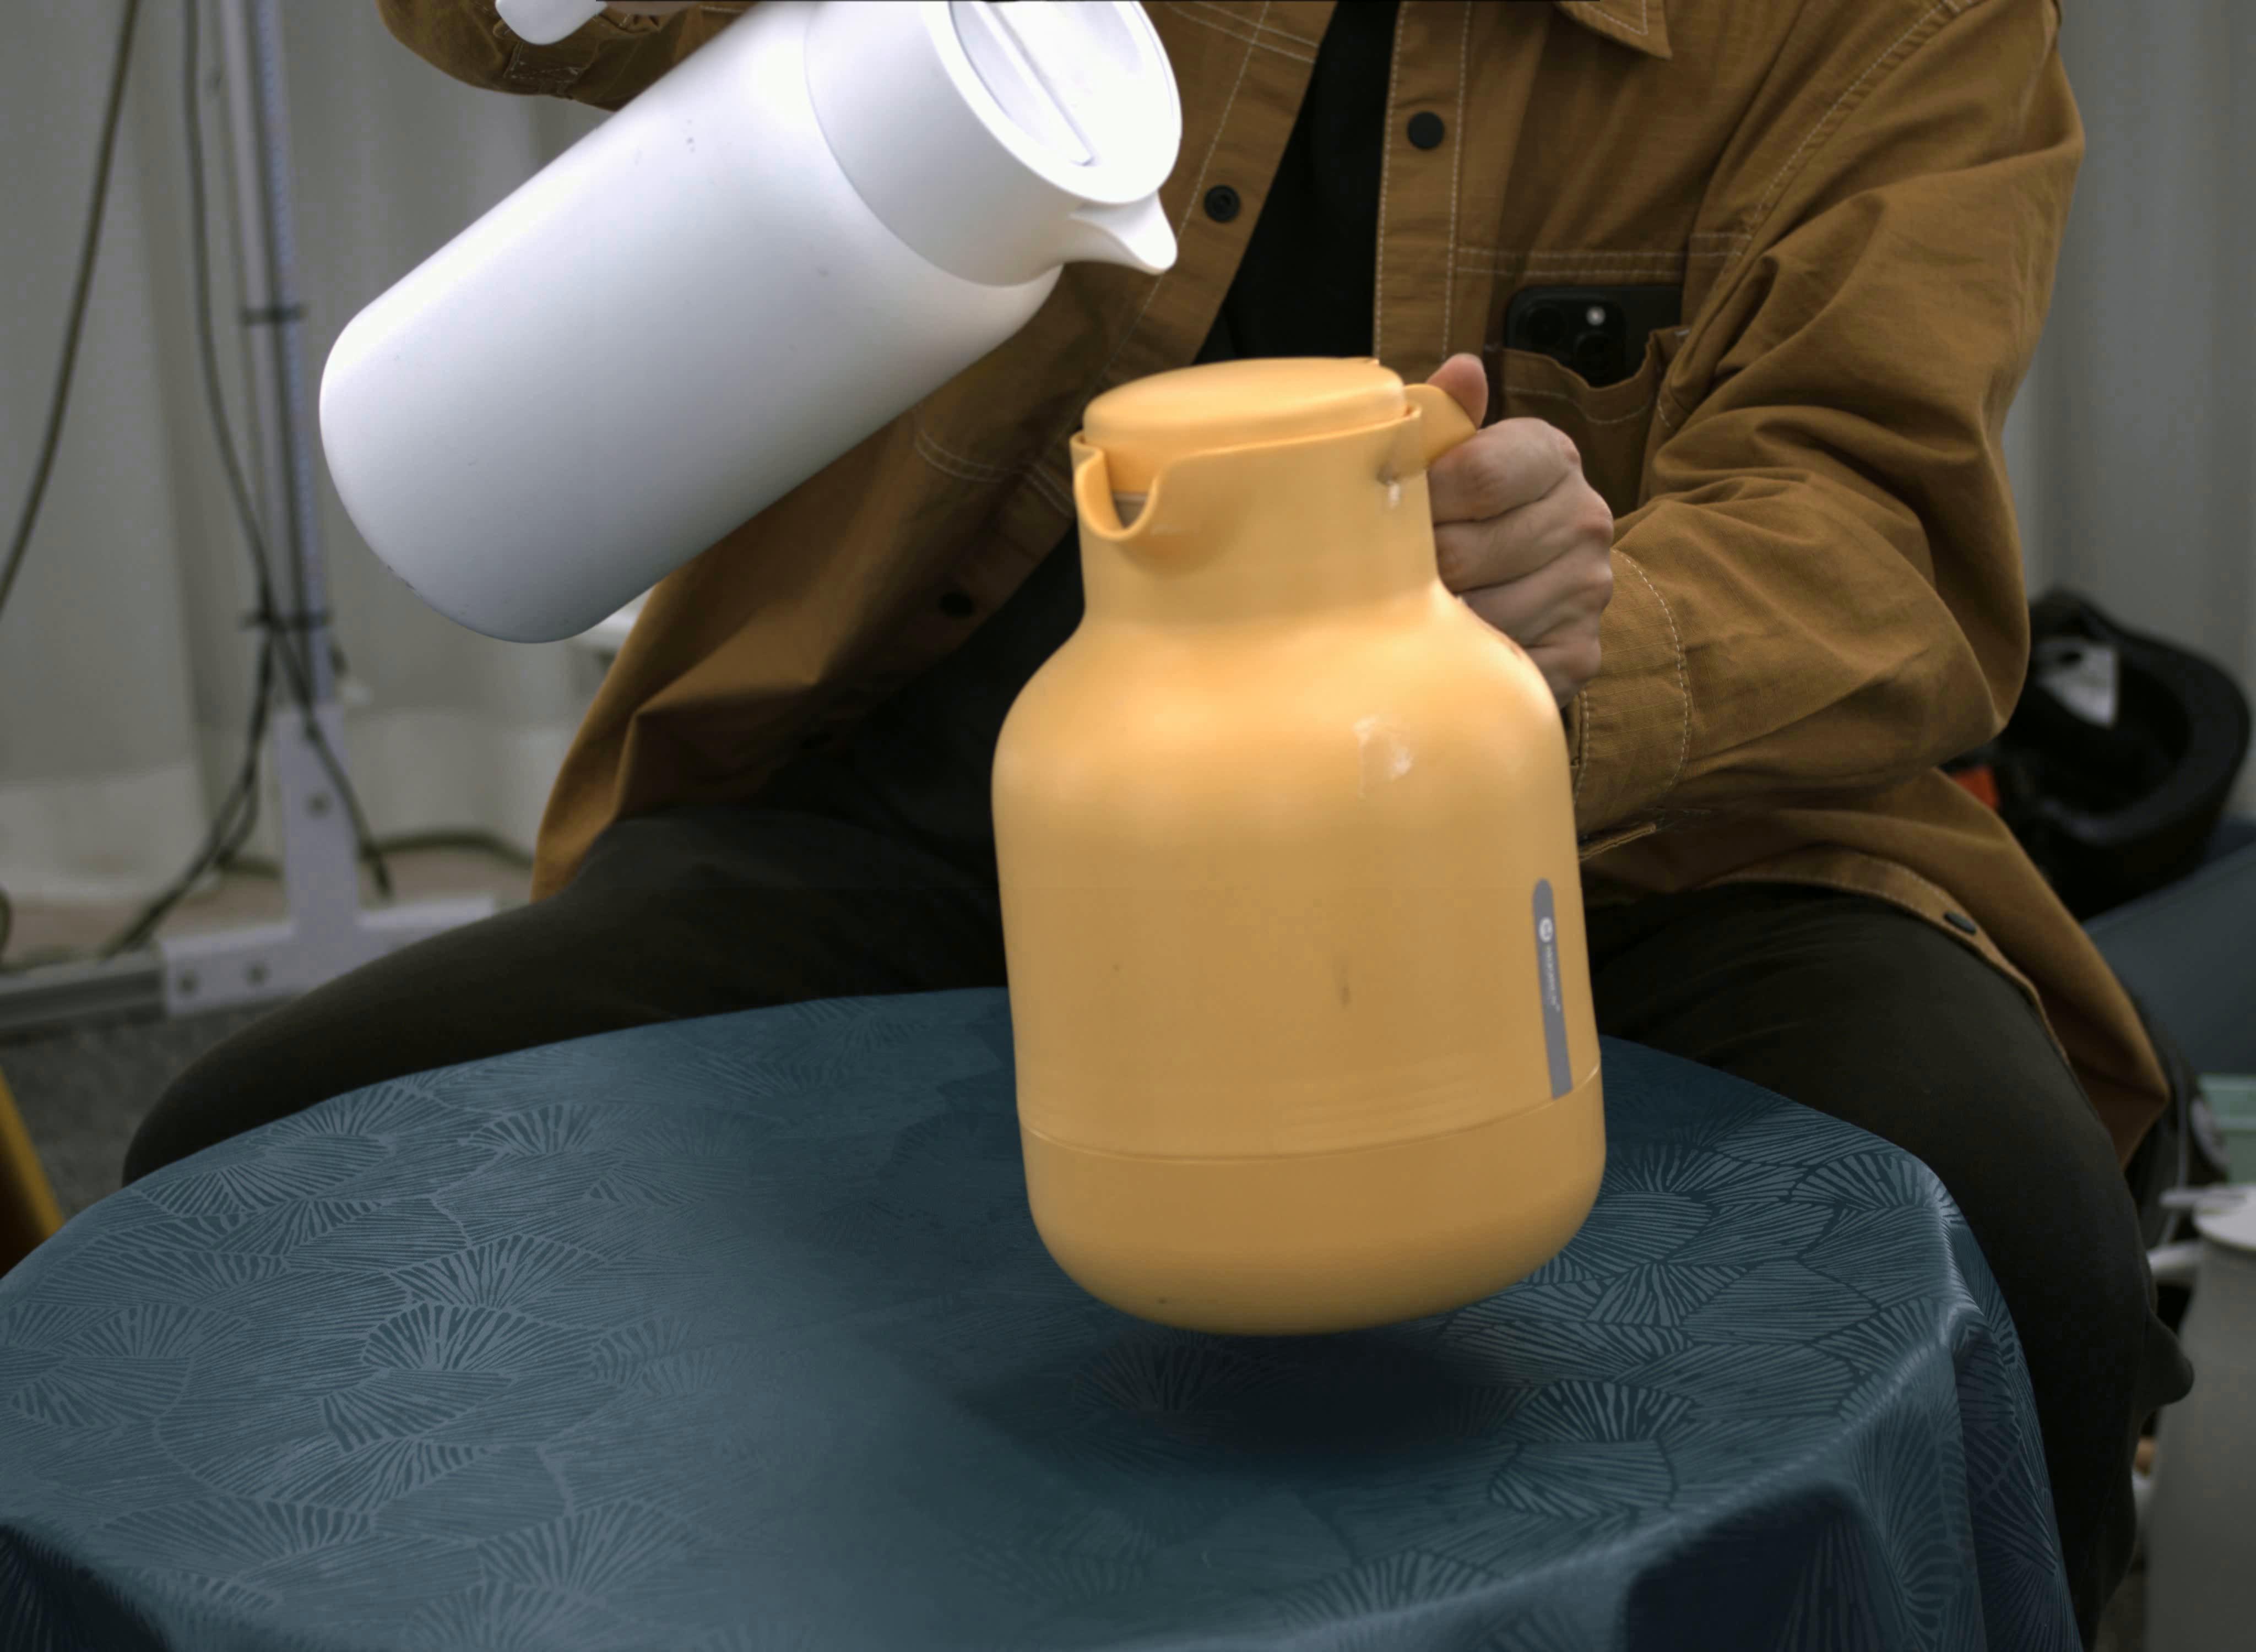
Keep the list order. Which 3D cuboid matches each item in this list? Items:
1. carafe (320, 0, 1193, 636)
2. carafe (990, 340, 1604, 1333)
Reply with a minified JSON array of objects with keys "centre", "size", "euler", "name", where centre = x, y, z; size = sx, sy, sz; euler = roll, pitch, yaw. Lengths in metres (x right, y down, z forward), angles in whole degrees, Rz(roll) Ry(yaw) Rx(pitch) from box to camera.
[{"centre":[-0.120,-0.174,1.571],"size":[0.267,0.173,0.124],"euler":[-31,4,39],"name":"carafe"},{"centre":[0.055,-0.005,1.526],"size":[0.164,0.259,0.202],"euler":[4,16,34],"name":"carafe"}]
